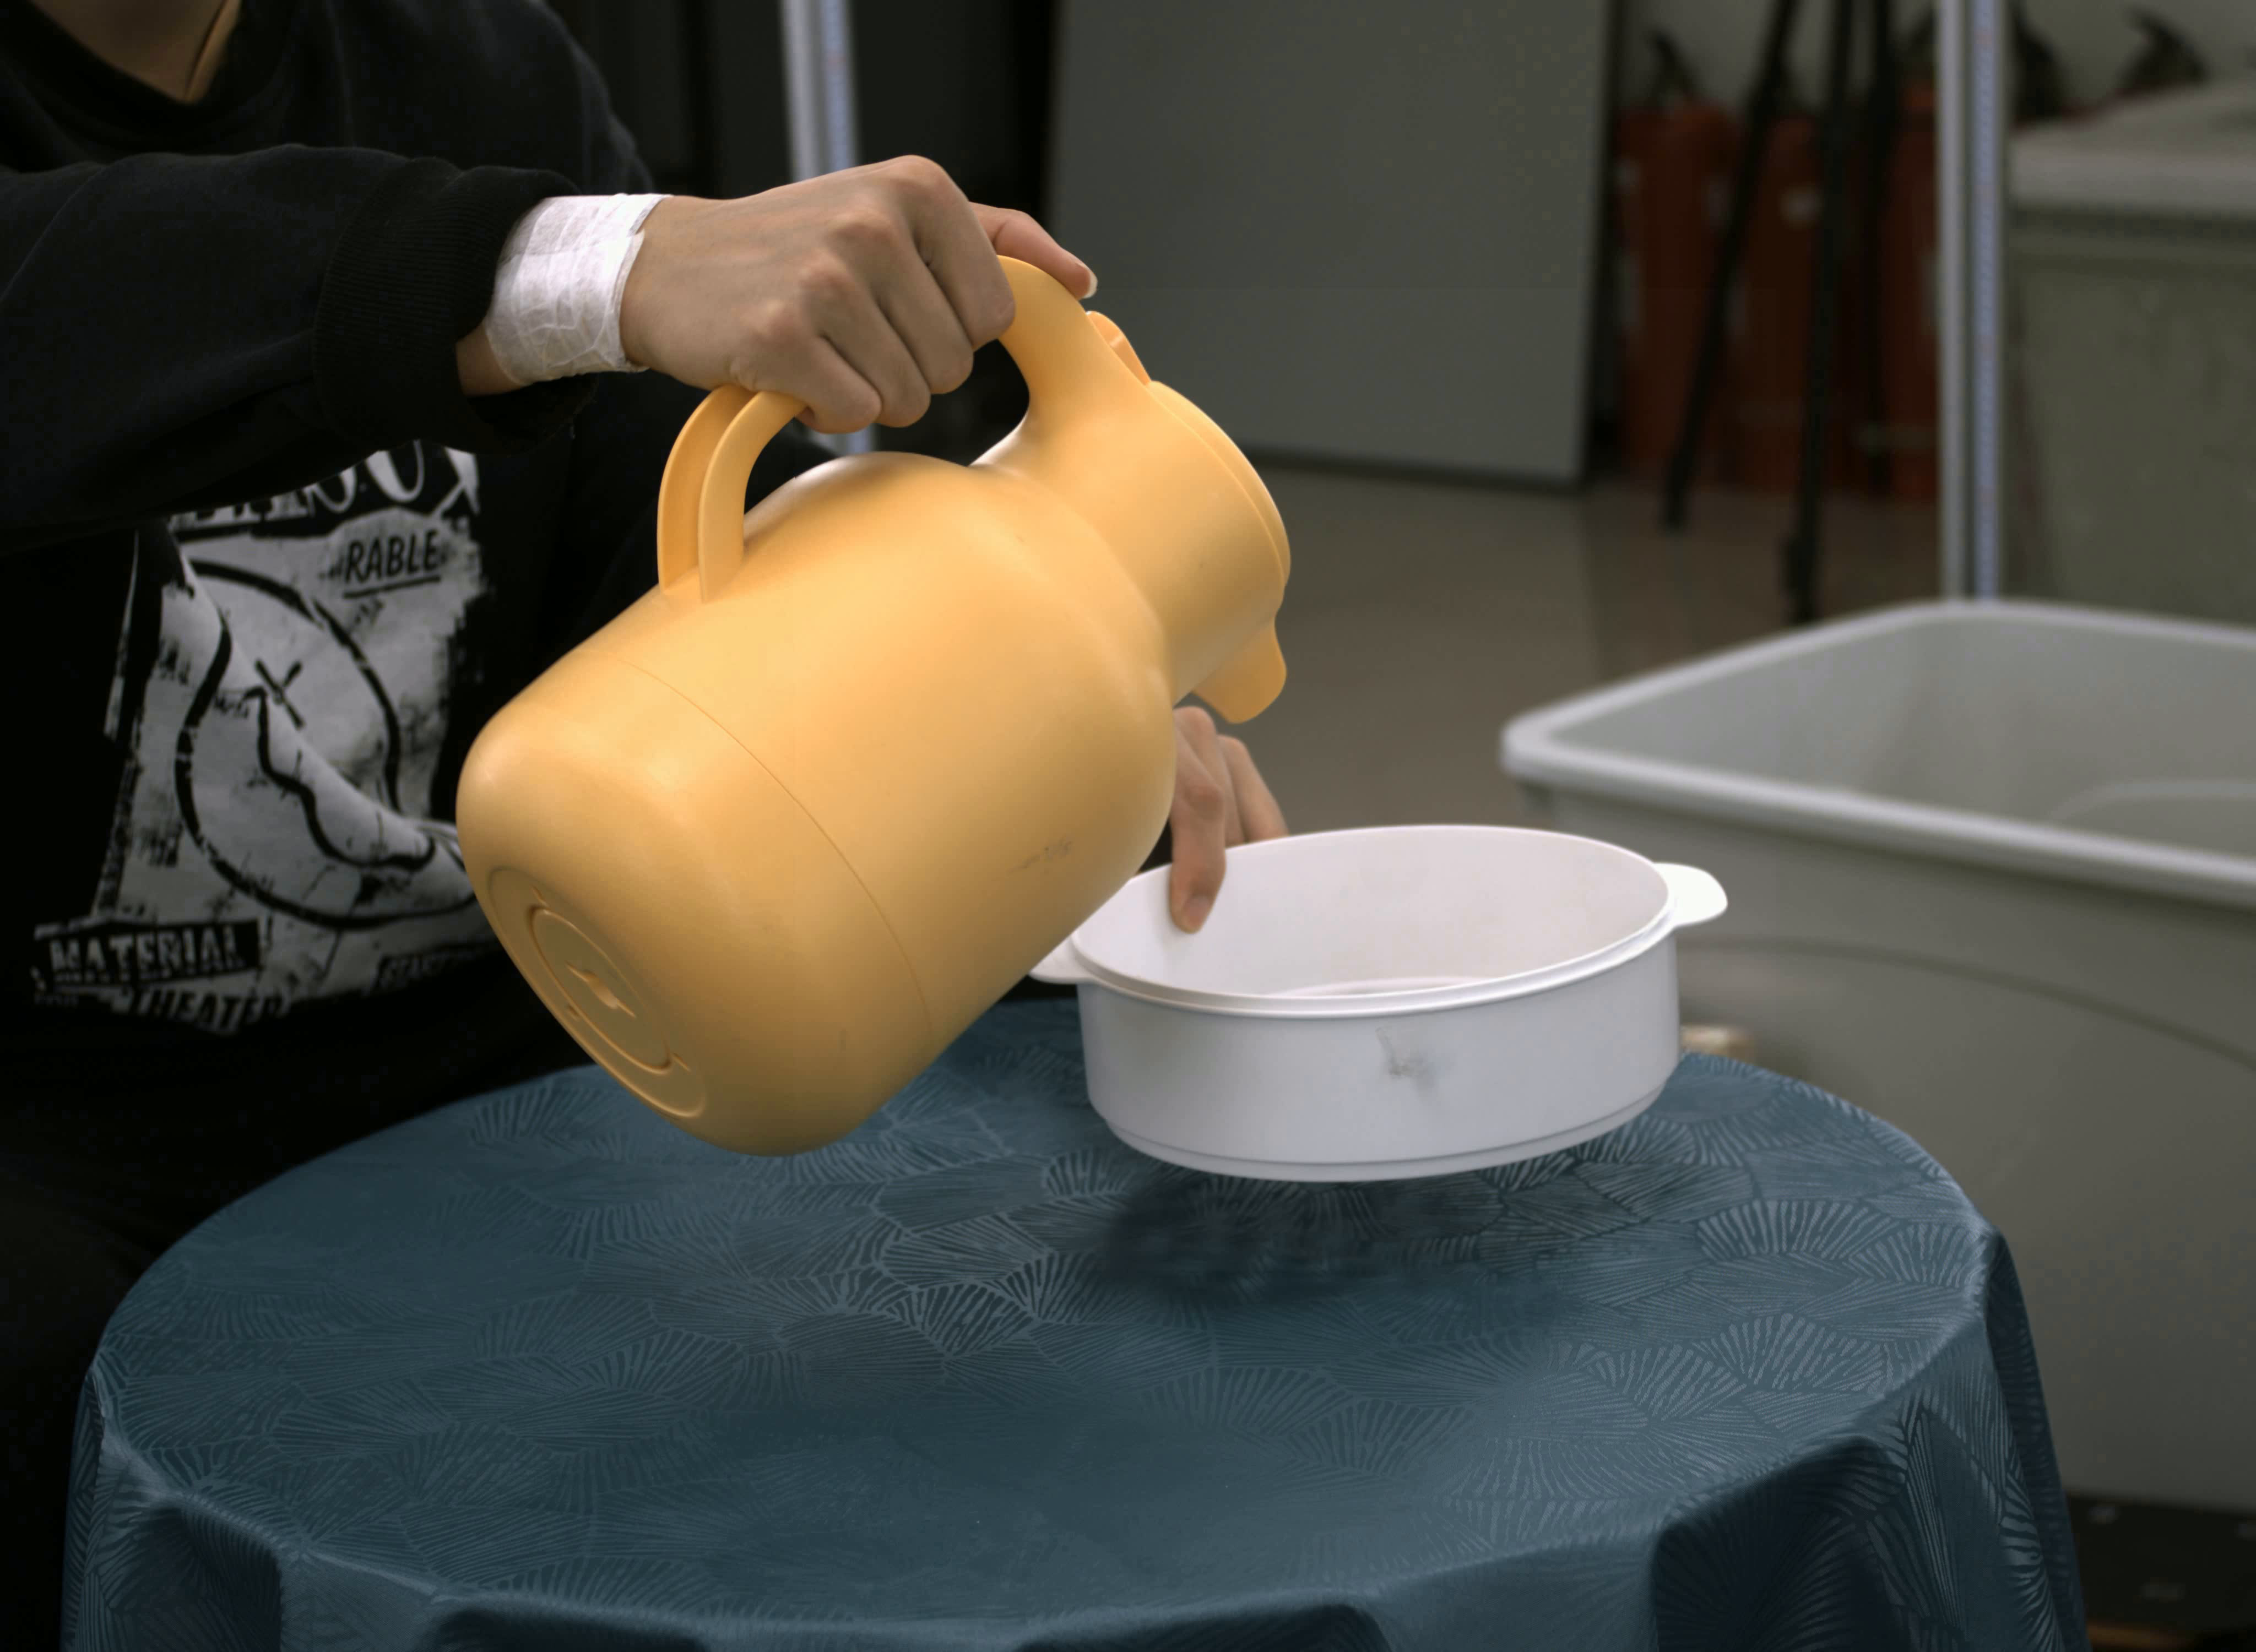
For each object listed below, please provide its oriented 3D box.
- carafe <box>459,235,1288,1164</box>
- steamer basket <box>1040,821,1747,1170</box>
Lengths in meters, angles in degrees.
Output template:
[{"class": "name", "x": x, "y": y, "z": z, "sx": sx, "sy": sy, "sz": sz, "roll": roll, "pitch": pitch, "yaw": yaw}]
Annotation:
[{"class": "carafe", "x": -0.076, "y": -0.047, "z": 1.613, "sx": 0.258, "sy": 0.202, "sz": 0.165, "roll": -42, "pitch": 26, "yaw": -22}, {"class": "steamer basket", "x": 0.086, "y": 0.054, "z": 1.740, "sx": 0.227, "sy": 0.070, "sz": 0.202, "roll": -3, "pitch": 14, "yaw": -1}]
